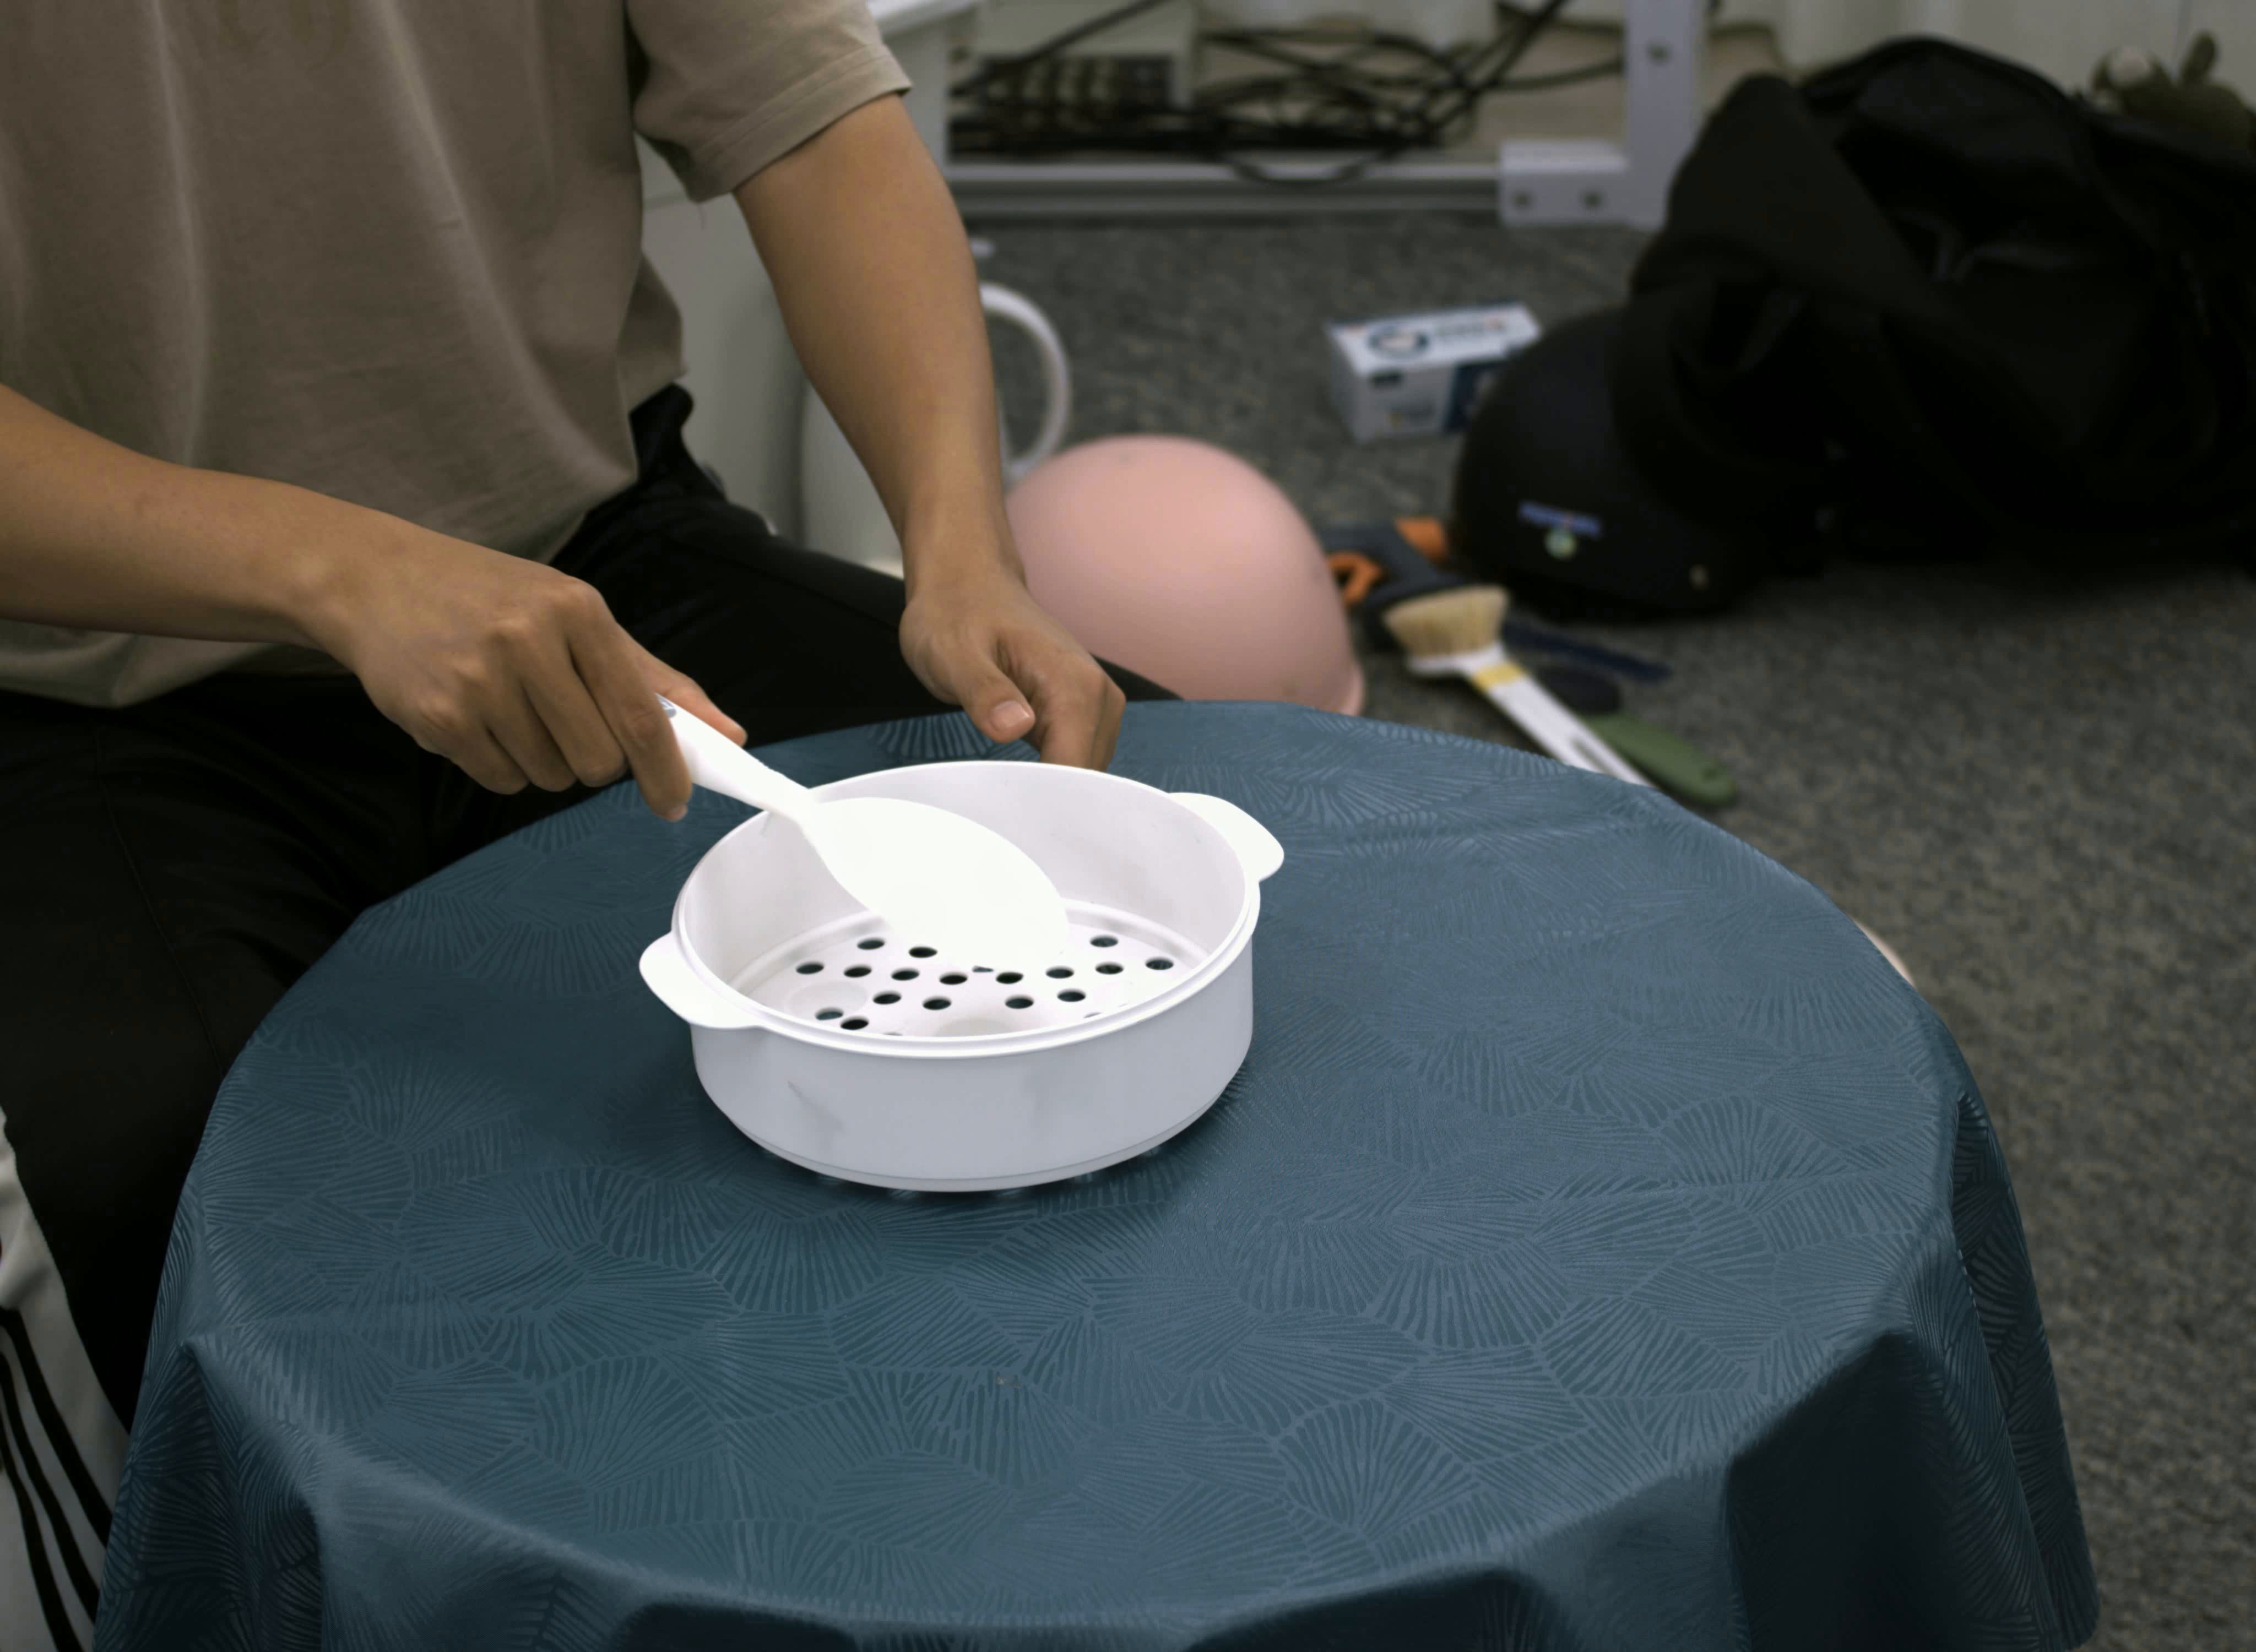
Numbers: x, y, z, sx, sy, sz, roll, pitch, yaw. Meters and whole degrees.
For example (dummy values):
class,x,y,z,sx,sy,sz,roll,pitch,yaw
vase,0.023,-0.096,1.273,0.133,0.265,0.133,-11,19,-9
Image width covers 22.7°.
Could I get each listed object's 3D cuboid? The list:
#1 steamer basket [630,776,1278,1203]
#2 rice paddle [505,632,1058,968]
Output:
class,x,y,z,sx,sy,sz,roll,pitch,yaw
steamer basket,-0.058,0.057,1.924,0.231,0.068,0.203,-13,29,-24
rice paddle,-0.114,-0.008,1.919,0.204,0.029,0.070,27,39,-3
